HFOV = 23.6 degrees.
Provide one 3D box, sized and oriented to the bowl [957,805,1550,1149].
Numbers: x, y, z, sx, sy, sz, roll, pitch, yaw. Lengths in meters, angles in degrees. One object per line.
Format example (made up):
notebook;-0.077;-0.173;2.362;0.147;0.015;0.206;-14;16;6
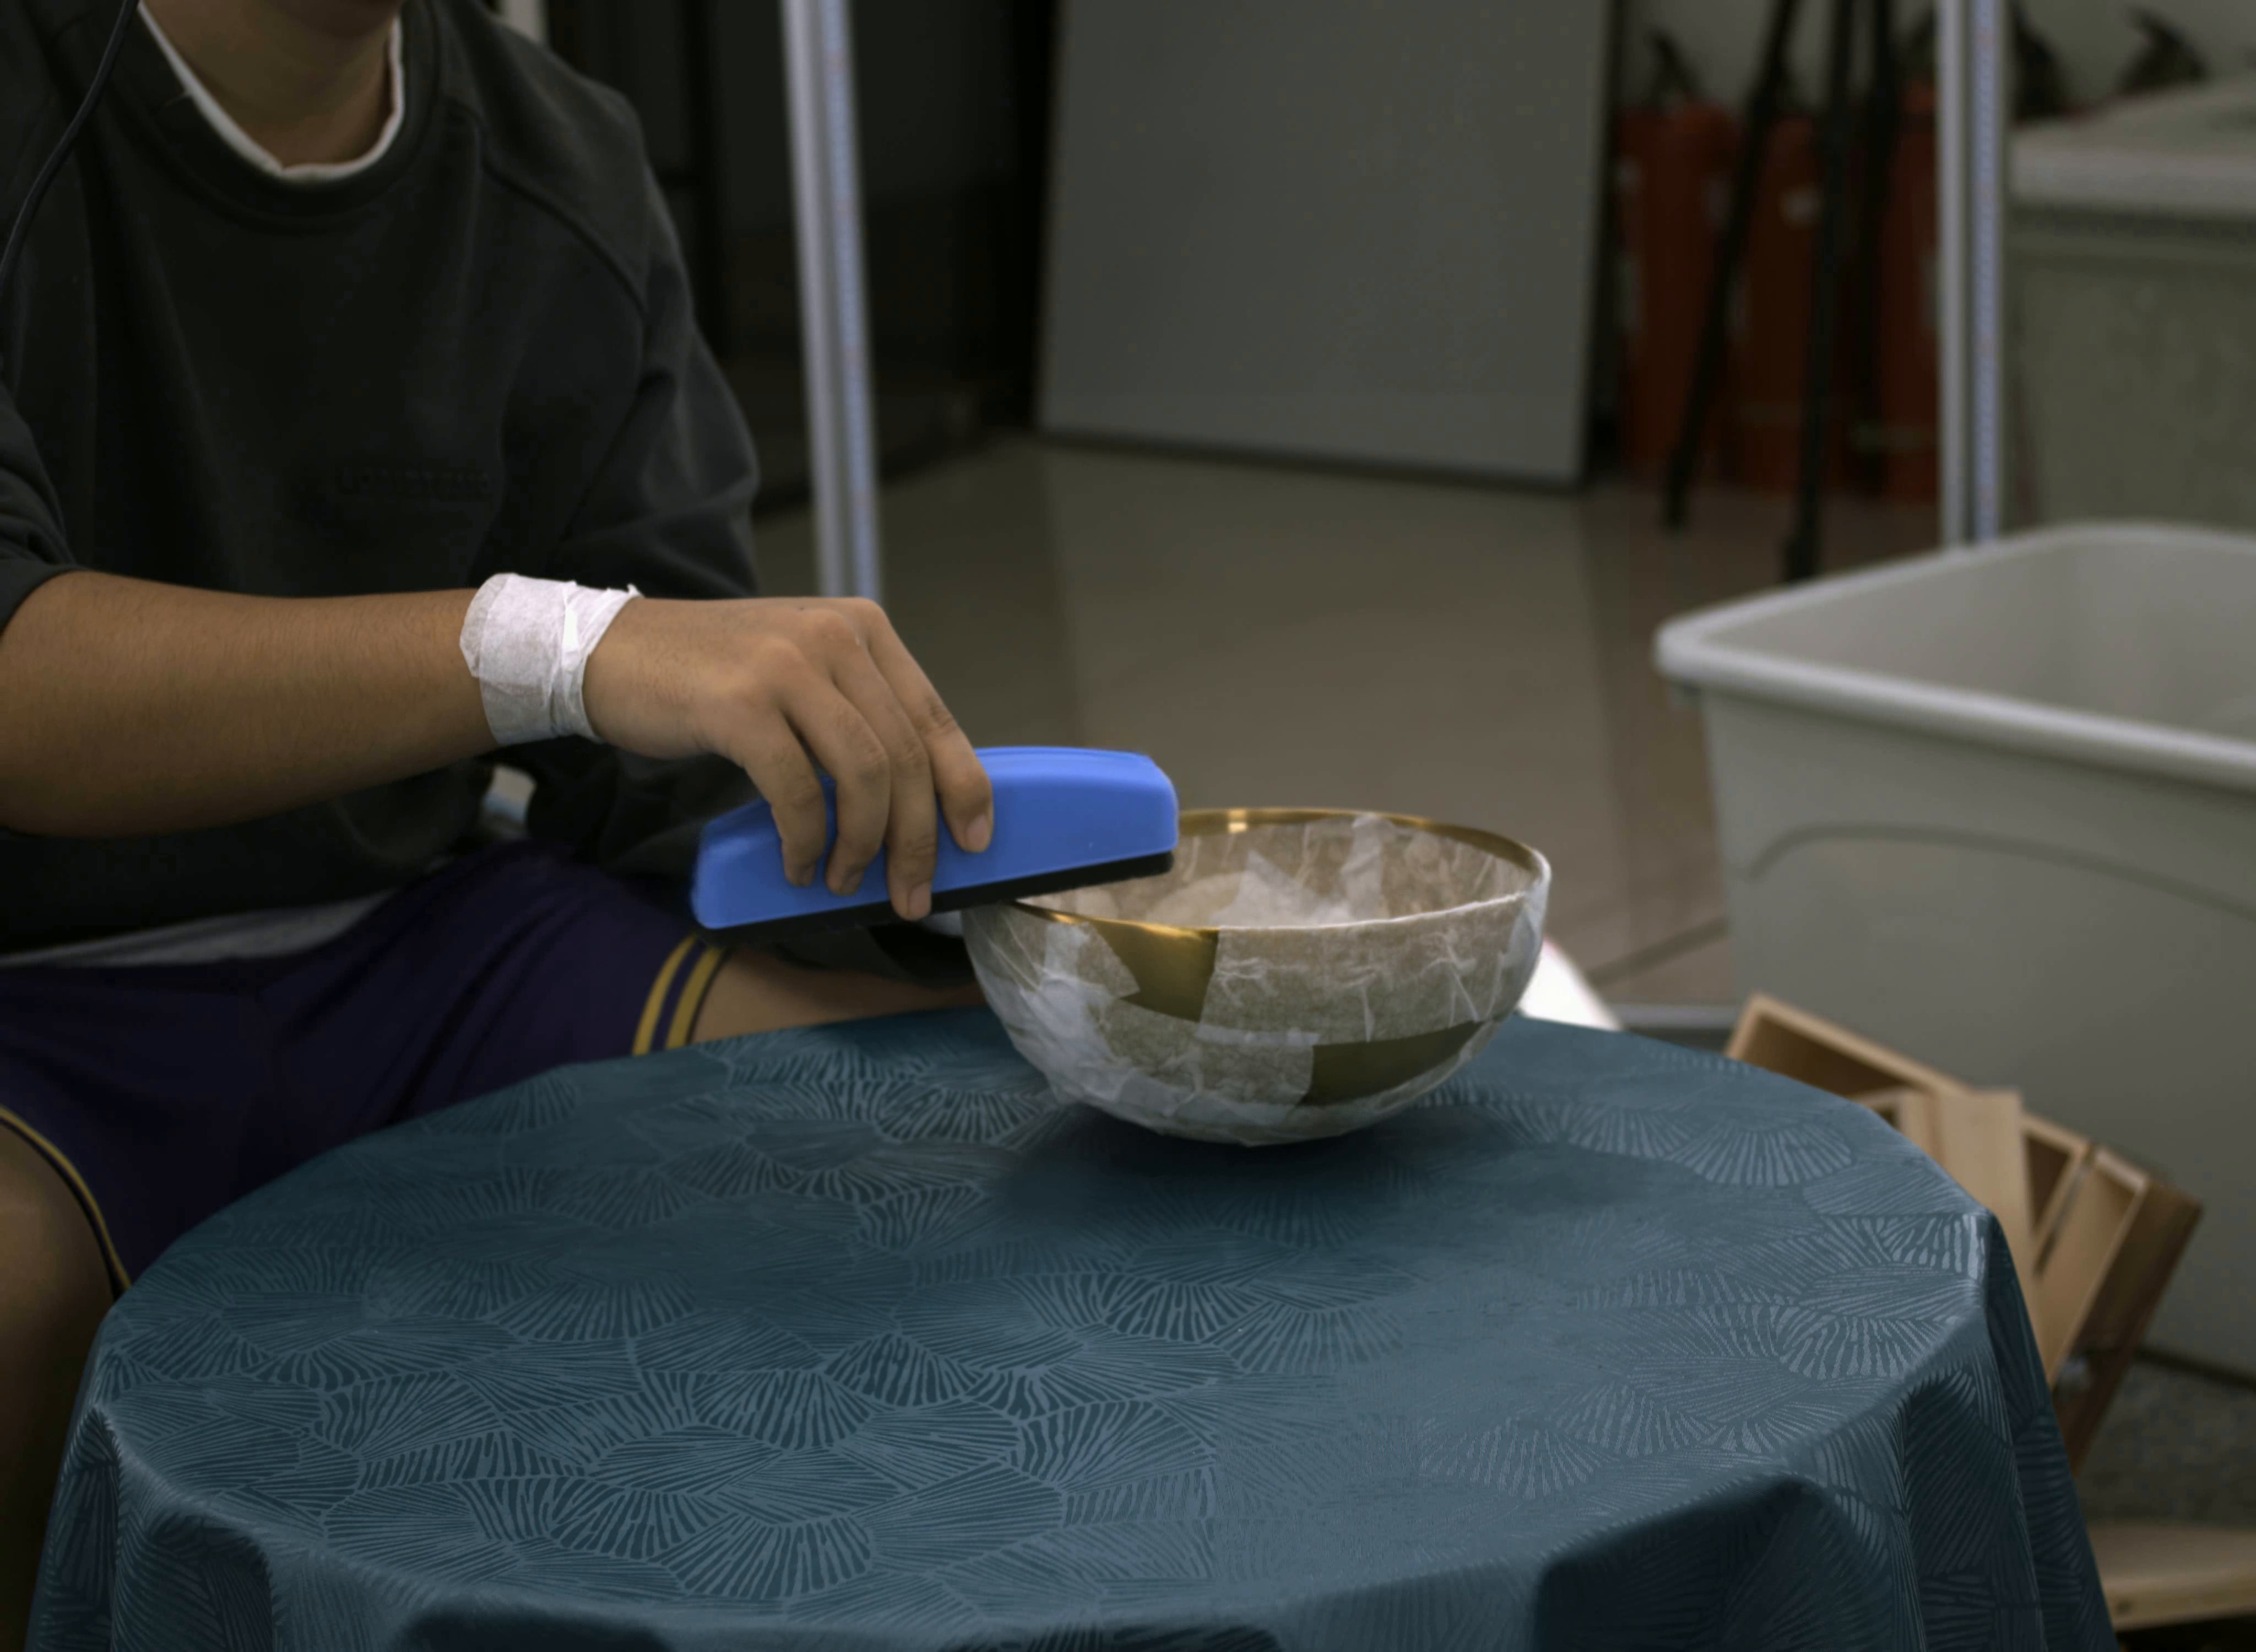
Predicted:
bowl;0.041;0.055;1.815;0.212;0.096;0.215;-1;11;-1

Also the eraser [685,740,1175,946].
eraser;-0.066;0.001;1.765;0.159;0.048;0.054;-10;14;-7
